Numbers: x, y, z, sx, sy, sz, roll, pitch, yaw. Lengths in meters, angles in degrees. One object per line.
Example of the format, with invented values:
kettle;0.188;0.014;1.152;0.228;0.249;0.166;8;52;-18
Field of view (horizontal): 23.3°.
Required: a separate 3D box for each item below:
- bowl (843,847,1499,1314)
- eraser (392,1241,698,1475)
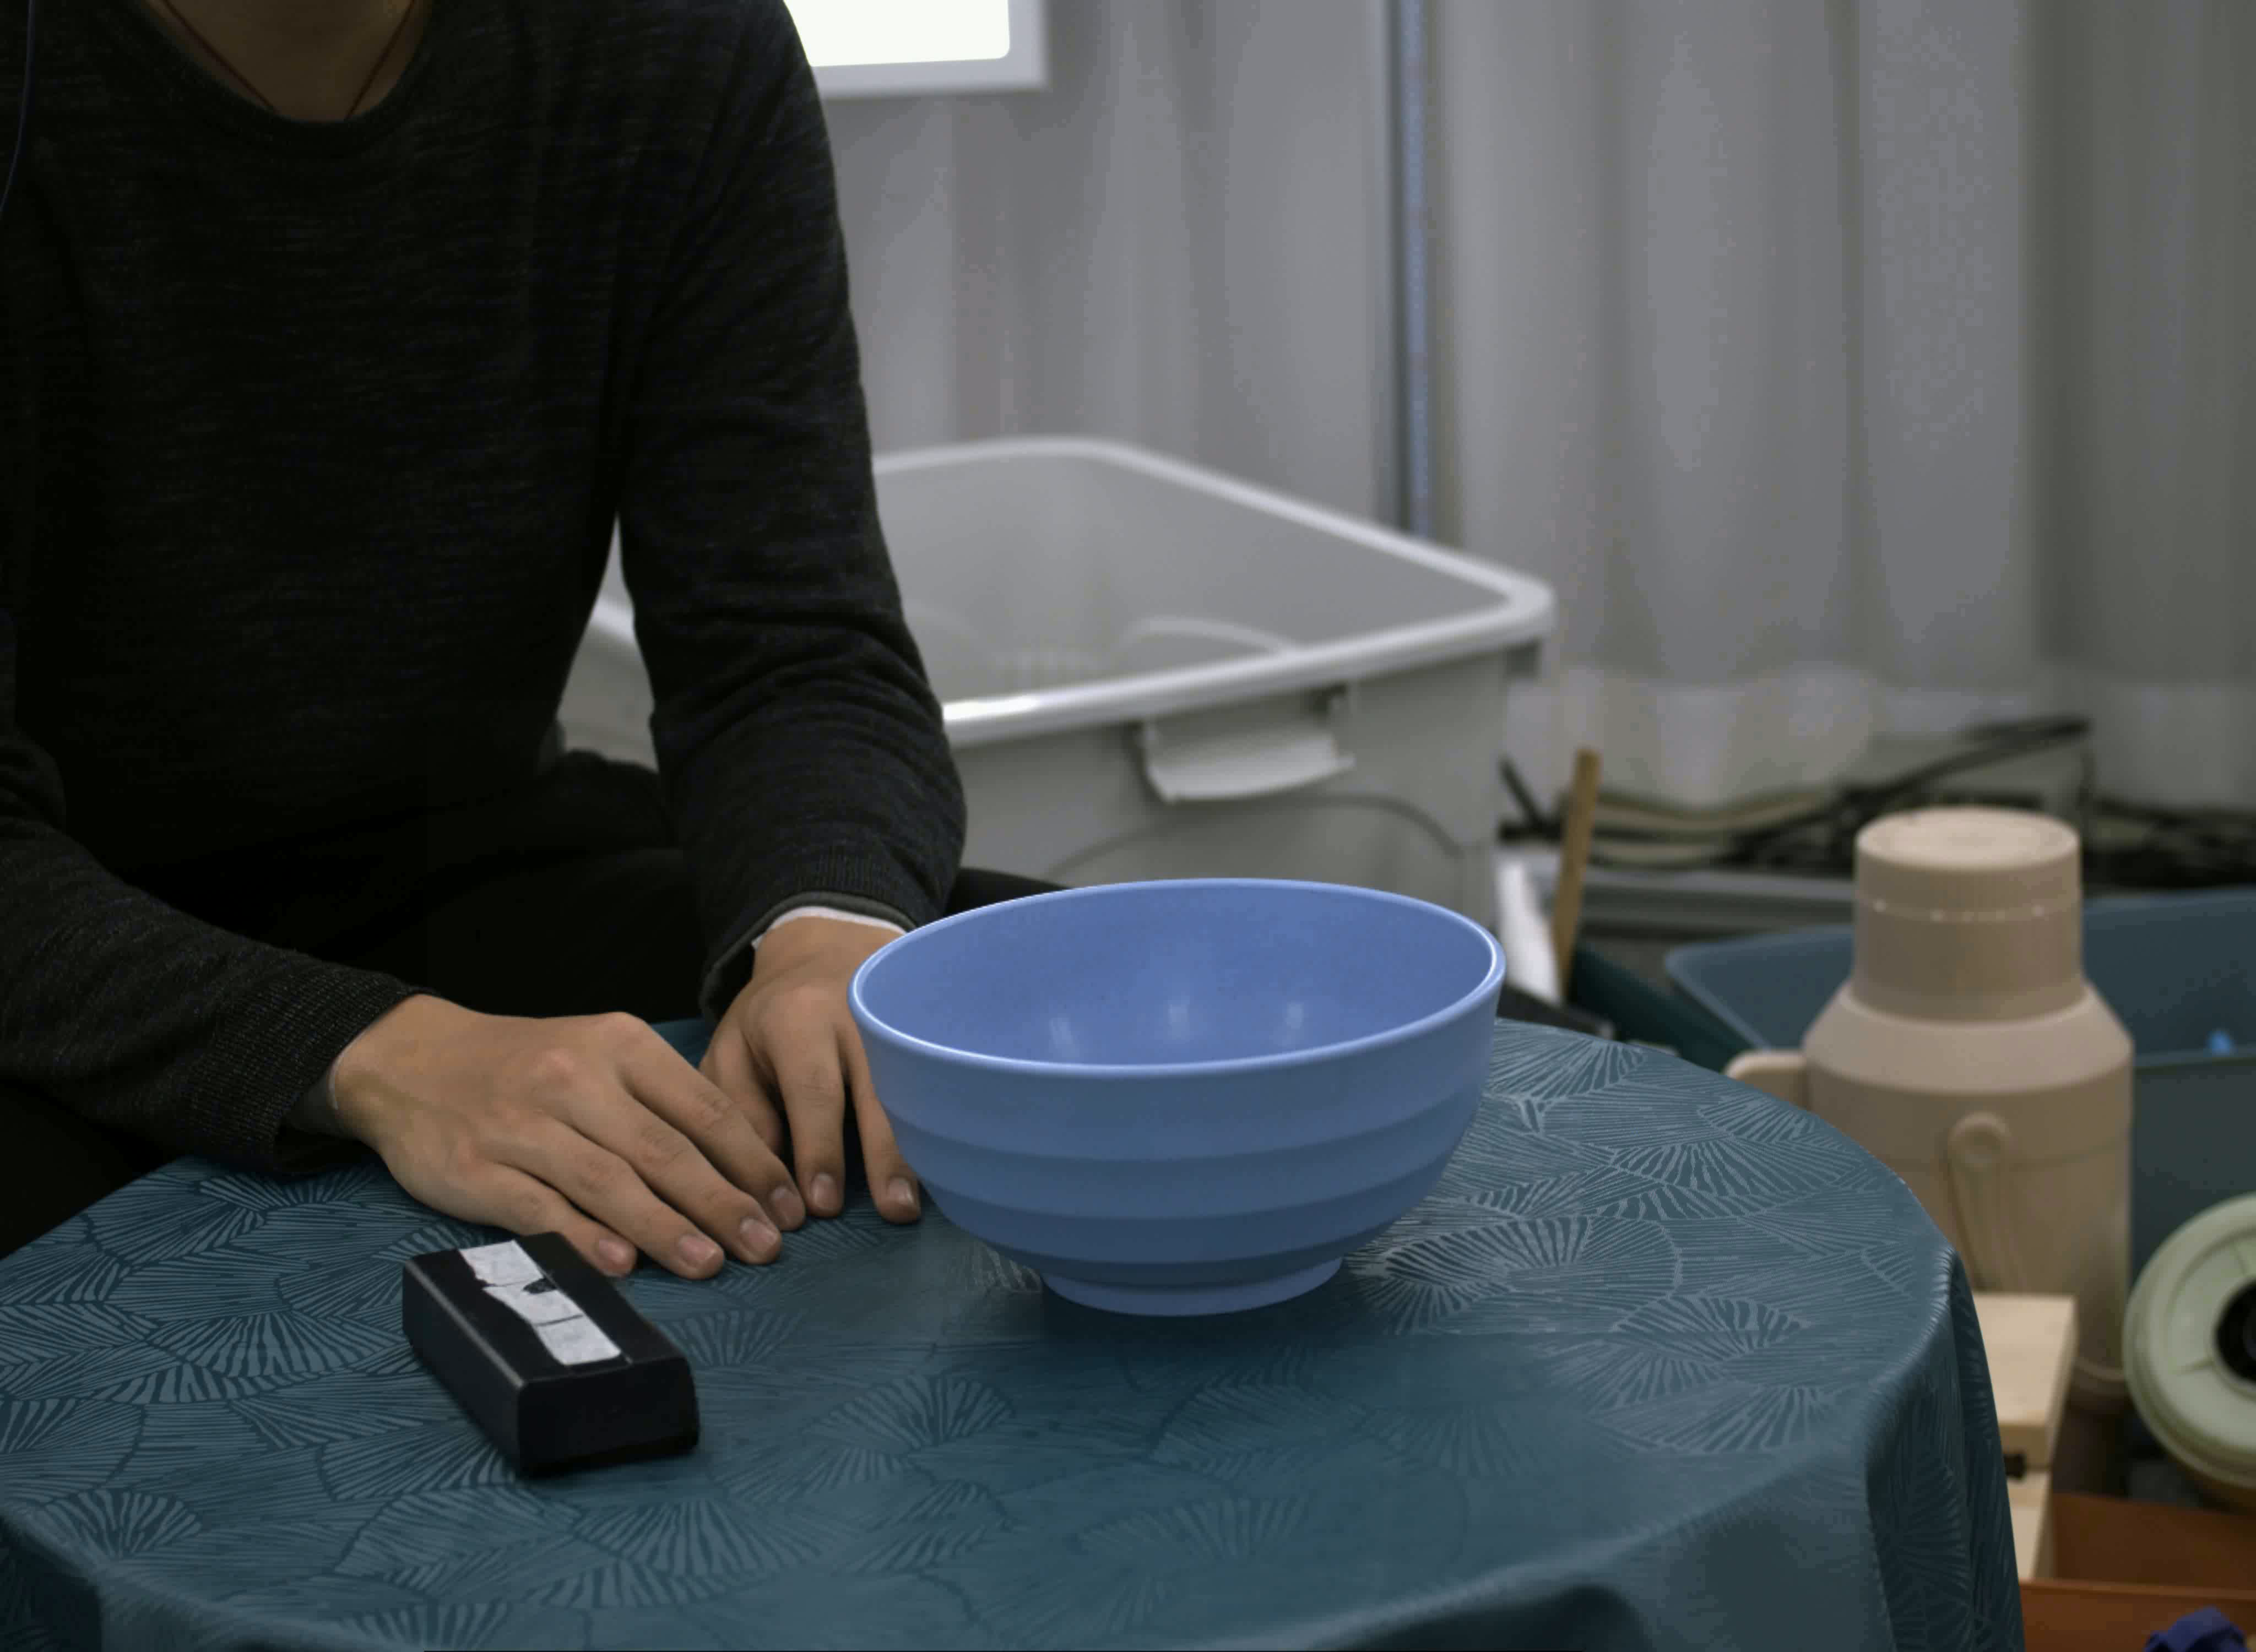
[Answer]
bowl;0.018;0.084;1.641;0.196;0.095;0.198;-6;19;2
eraser;-0.166;0.150;1.556;0.053;0.030;0.126;-6;14;-23
